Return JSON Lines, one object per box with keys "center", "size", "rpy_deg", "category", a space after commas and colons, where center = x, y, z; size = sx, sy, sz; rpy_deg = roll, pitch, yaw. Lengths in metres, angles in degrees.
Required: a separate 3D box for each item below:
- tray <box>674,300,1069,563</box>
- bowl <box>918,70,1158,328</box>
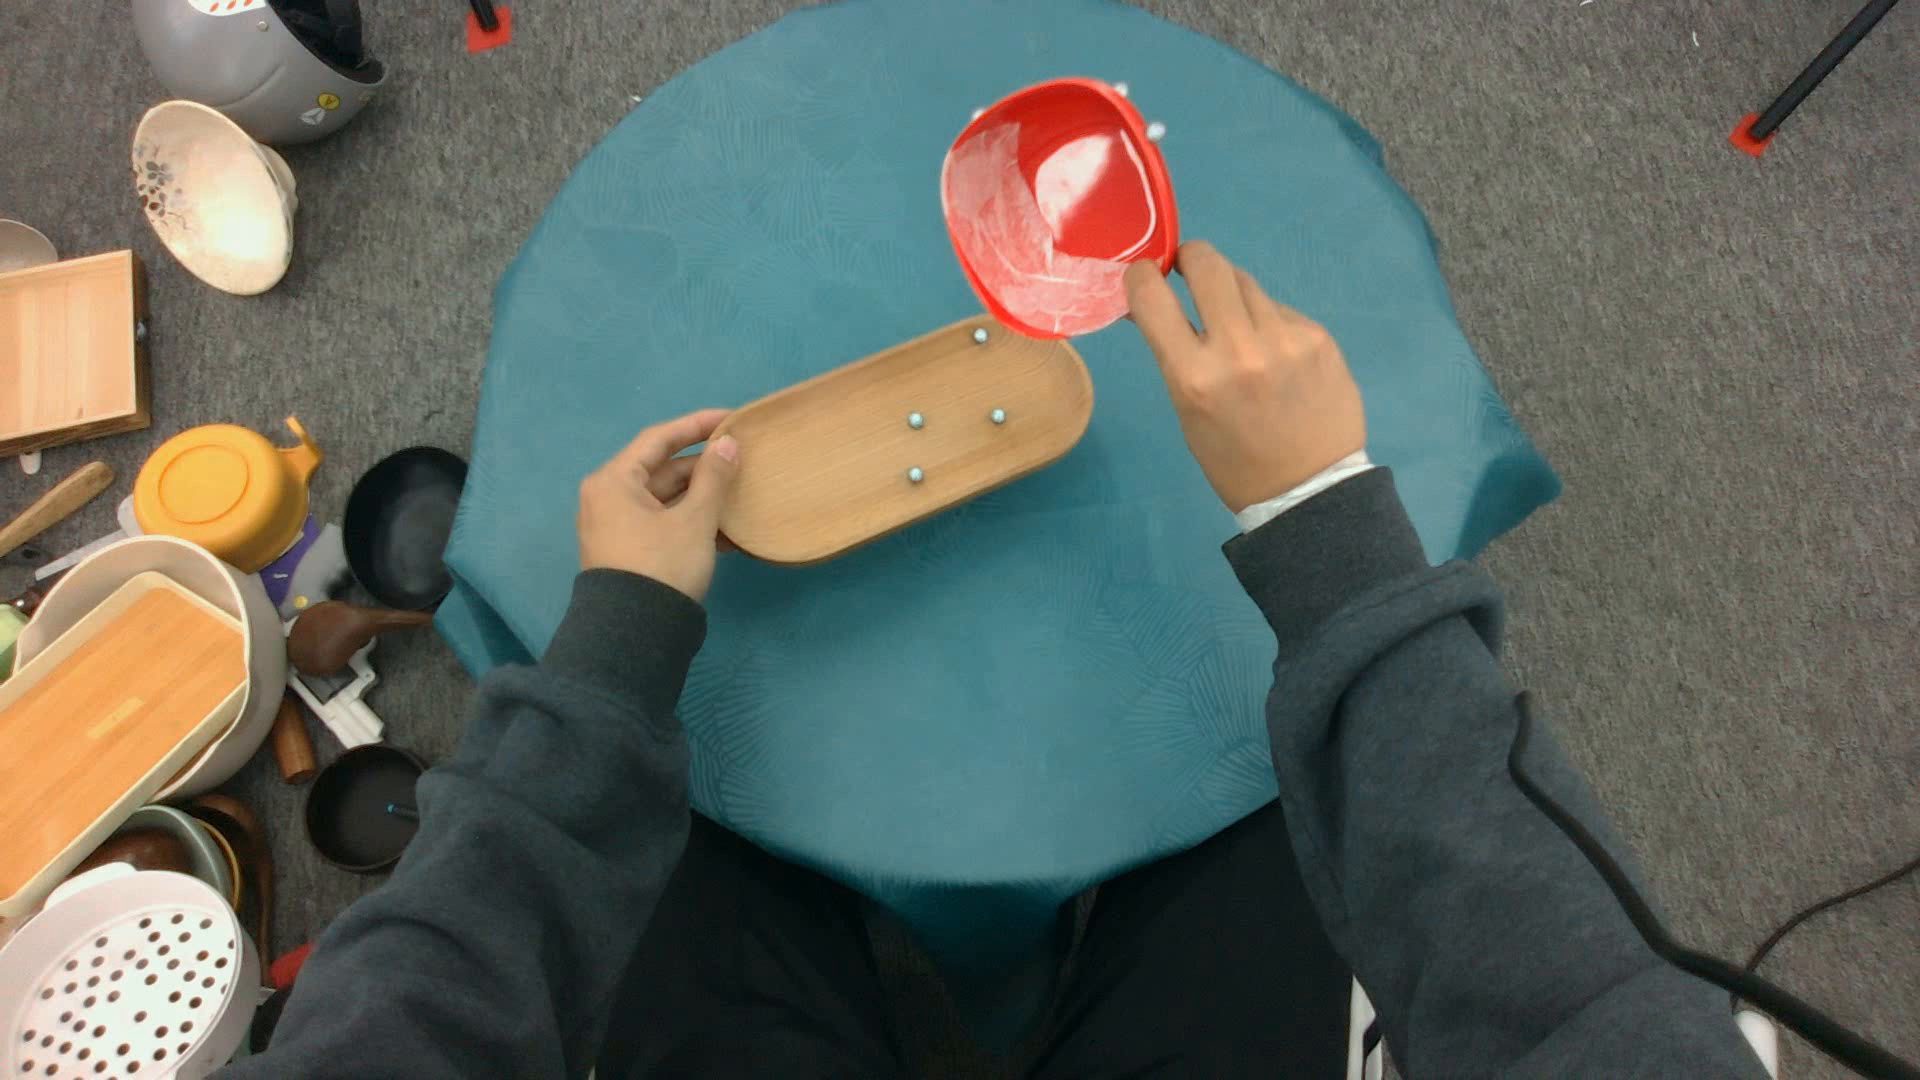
{"center": [-0.045, -0.061, 0.755], "size": [0.232, 0.020, 0.102], "rpy_deg": [-26, 71, -18], "category": "tray"}
{"center": [0.043, -0.160, 0.642], "size": [0.119, 0.118, 0.051], "rpy_deg": [35, 34, 12], "category": "bowl"}
